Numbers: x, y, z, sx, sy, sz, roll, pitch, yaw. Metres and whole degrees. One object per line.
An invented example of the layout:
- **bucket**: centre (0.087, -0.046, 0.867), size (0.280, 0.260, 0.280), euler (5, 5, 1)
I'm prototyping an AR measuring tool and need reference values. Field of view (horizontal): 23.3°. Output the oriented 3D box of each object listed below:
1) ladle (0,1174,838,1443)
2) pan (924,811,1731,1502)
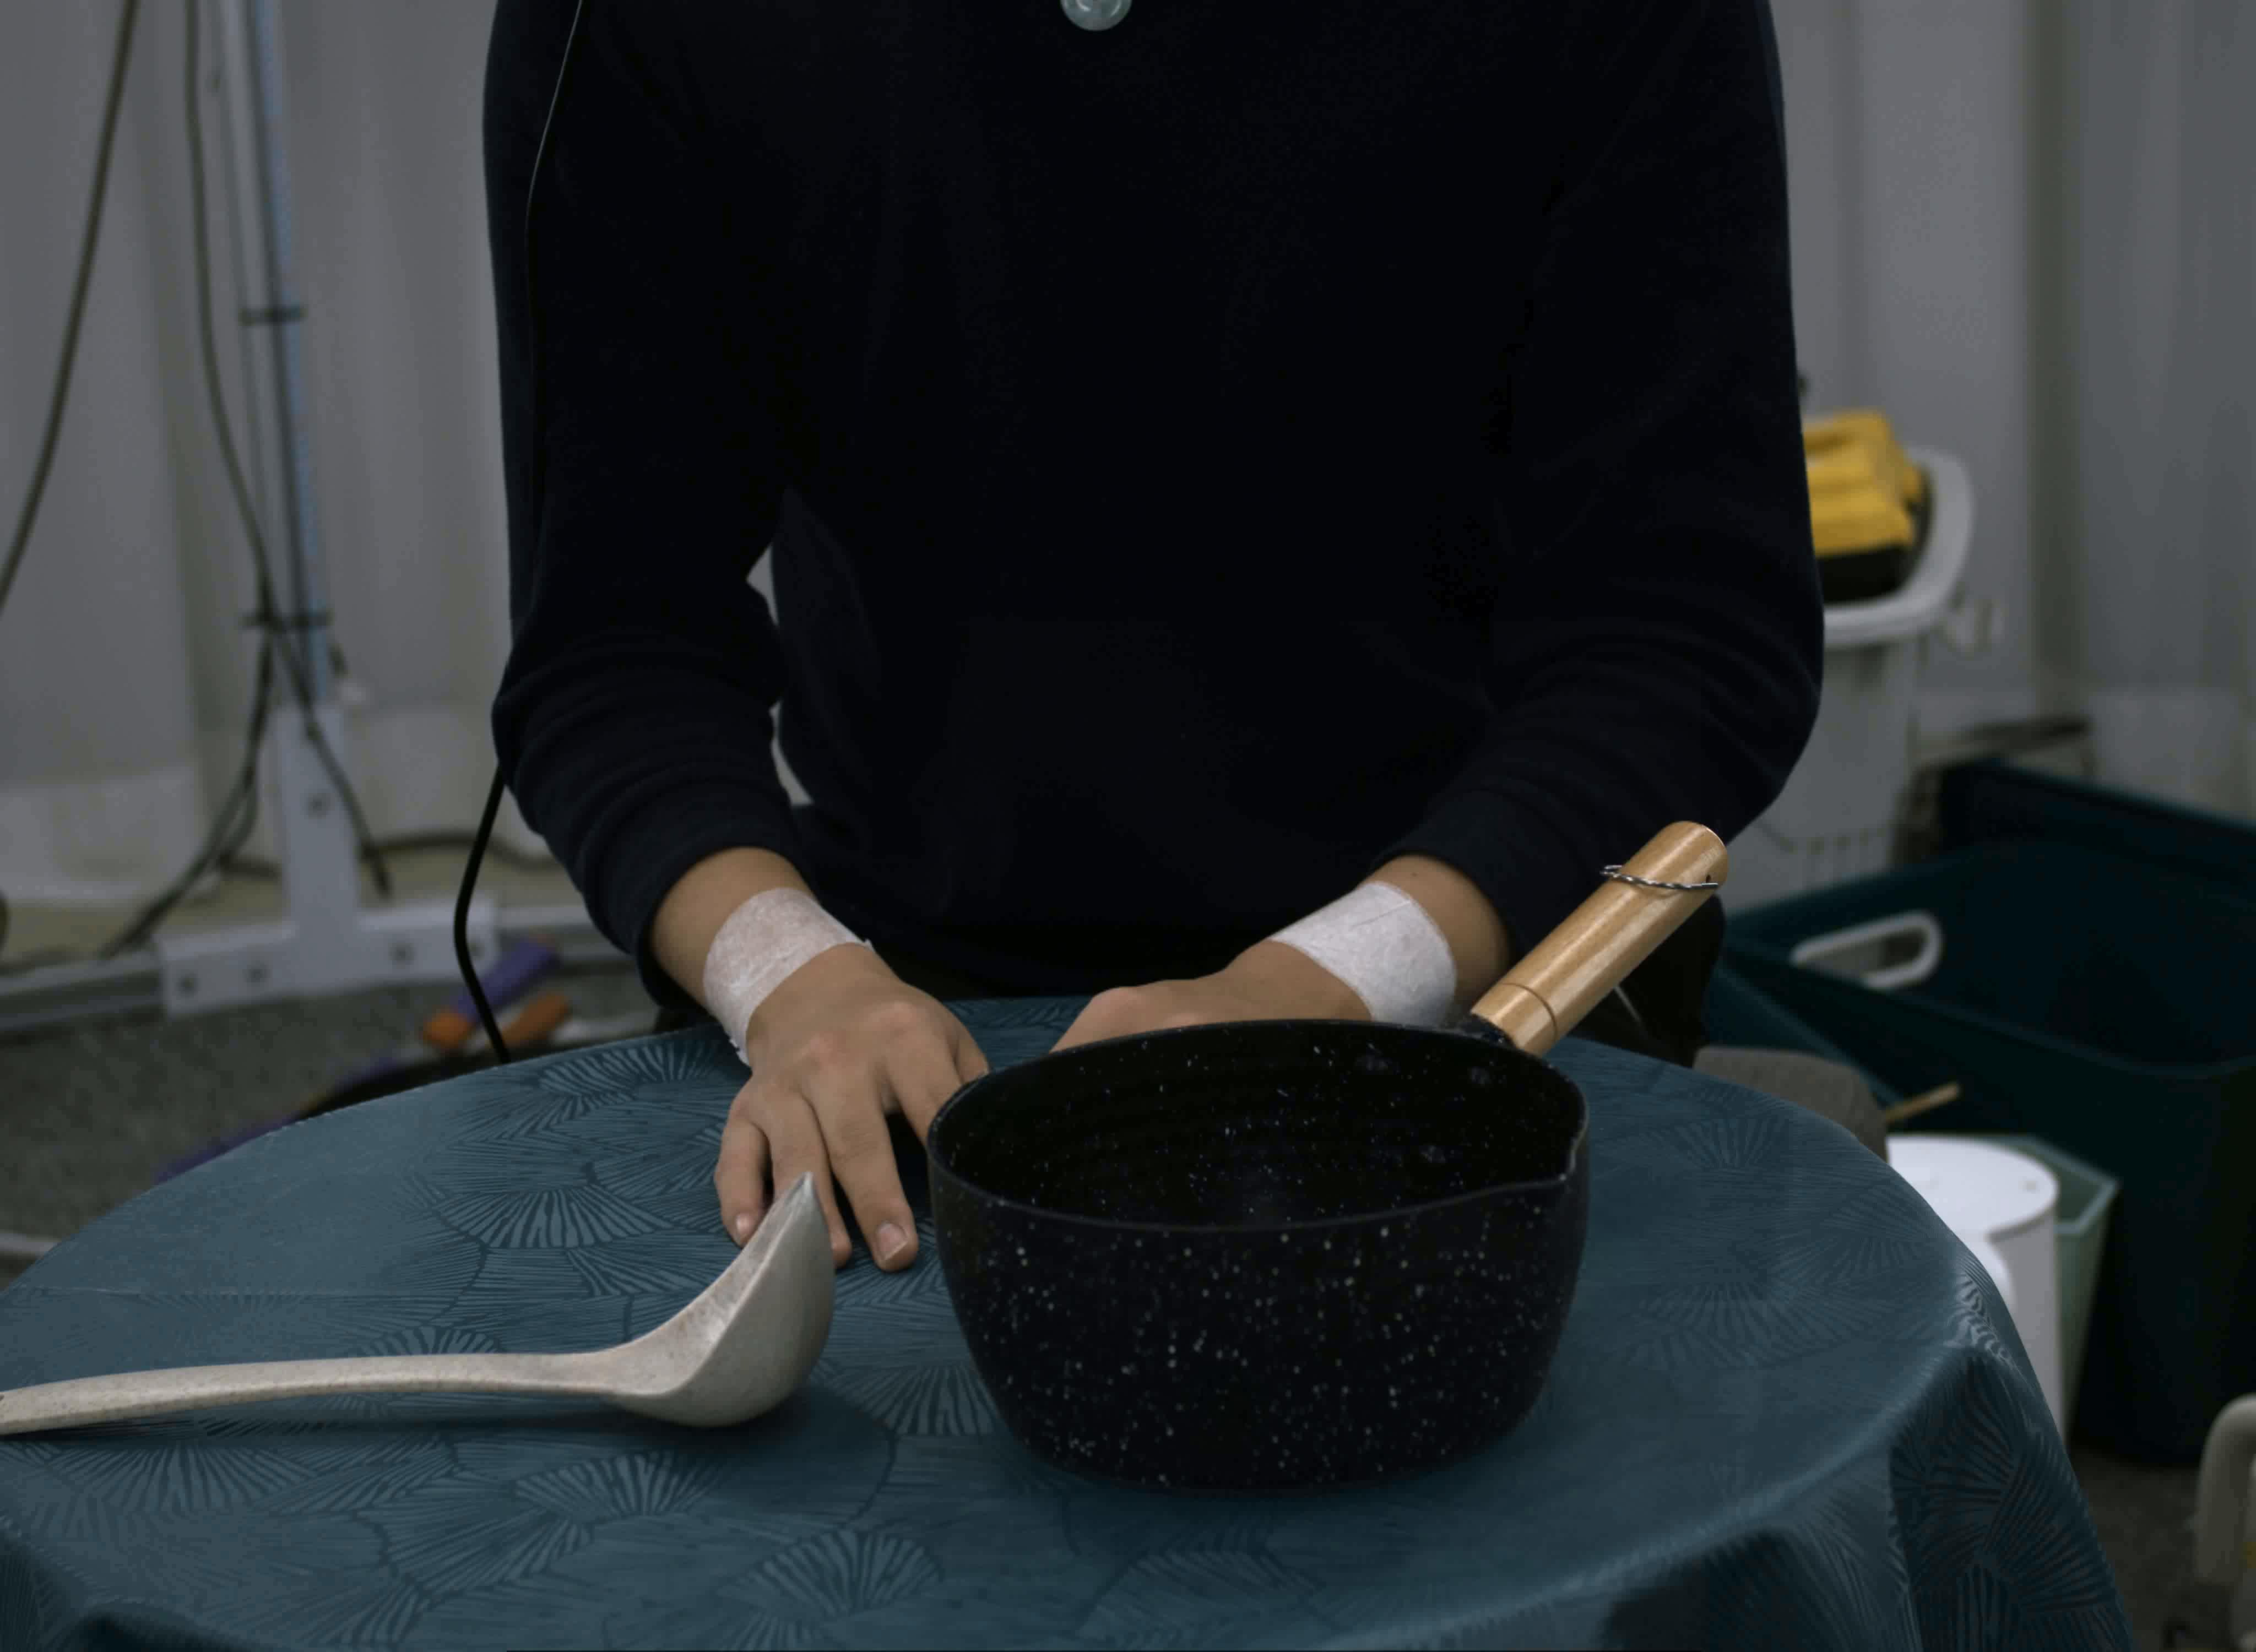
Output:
- **ladle**: centre (-0.218, 0.139, 1.543), size (0.274, 0.069, 0.090), euler (-3, 22, 5)
- **pan**: centre (0.082, 0.090, 1.582), size (0.208, 0.108, 0.343), euler (6, 19, 34)
